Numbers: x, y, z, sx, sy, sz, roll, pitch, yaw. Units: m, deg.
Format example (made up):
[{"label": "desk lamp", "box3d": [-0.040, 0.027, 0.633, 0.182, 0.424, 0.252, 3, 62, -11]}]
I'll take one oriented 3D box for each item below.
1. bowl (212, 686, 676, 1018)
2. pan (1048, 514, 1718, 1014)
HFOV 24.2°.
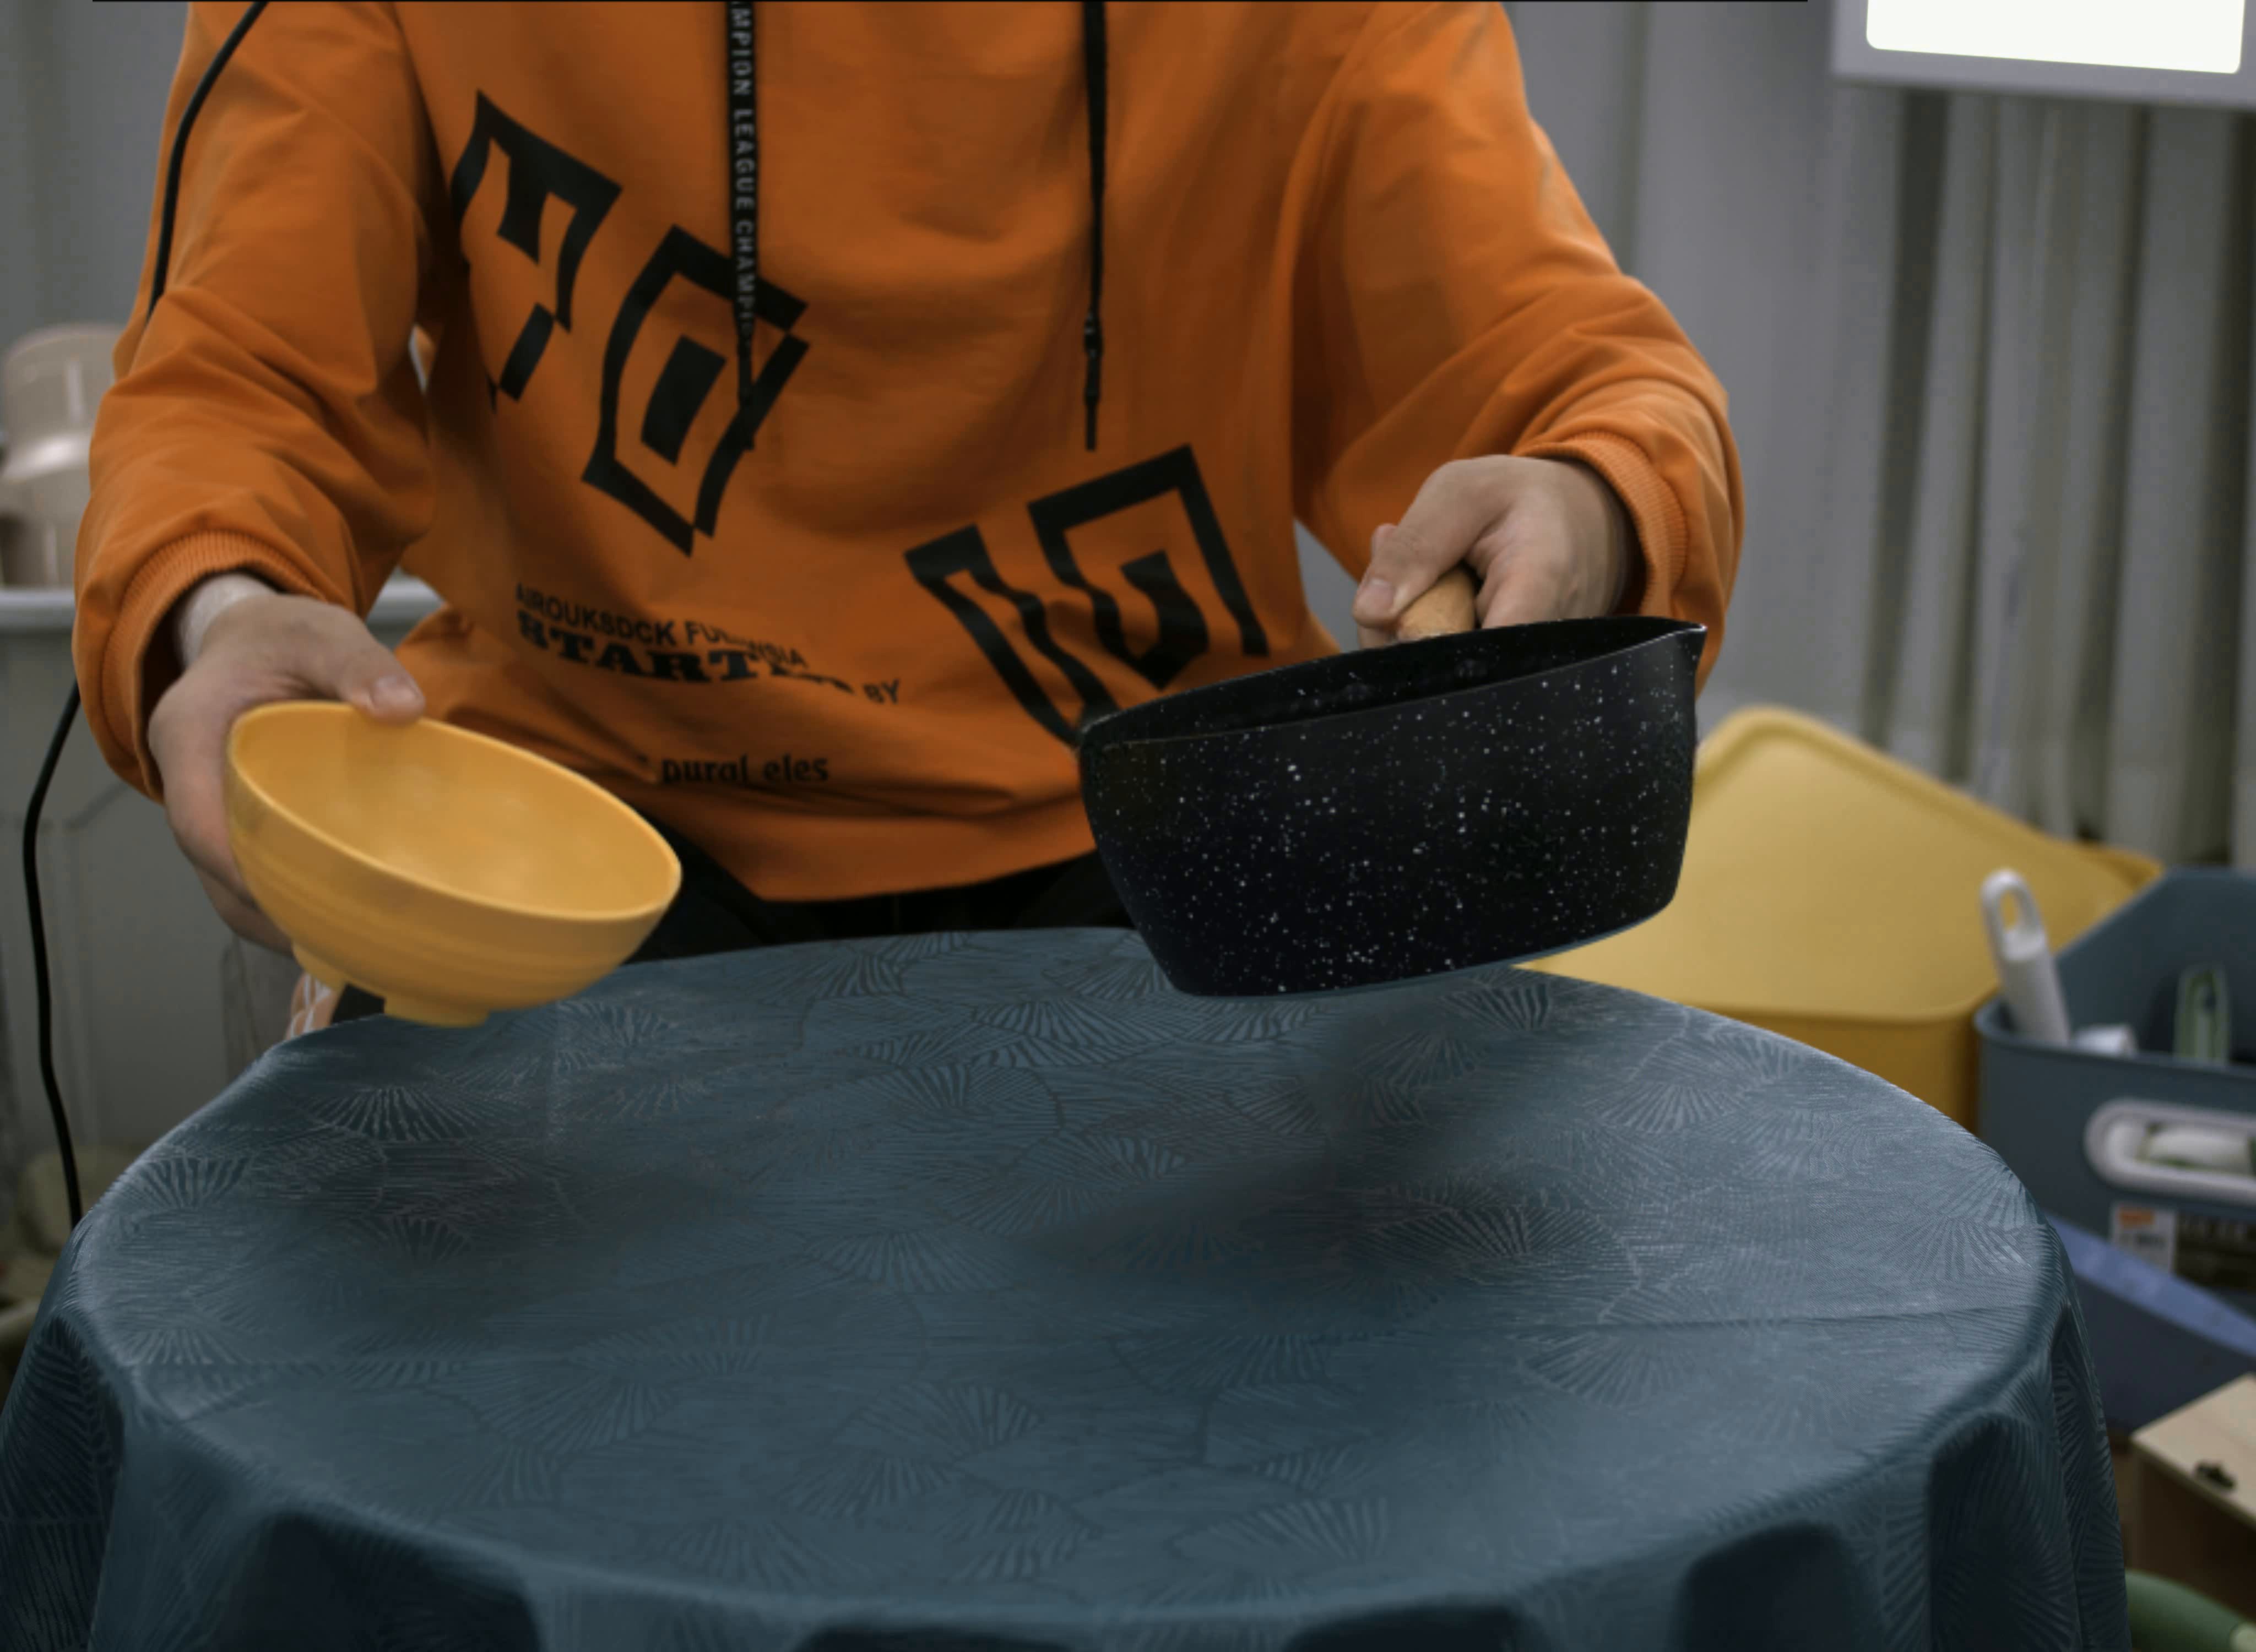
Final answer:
[{"label": "bowl", "box3d": [-0.213, 0.016, 1.577, 0.145, 0.060, 0.144, 21, 16, -6]}, {"label": "pan", "box3d": [0.091, -0.027, 1.646, 0.206, 0.109, 0.342, -11, 8, 10]}]
